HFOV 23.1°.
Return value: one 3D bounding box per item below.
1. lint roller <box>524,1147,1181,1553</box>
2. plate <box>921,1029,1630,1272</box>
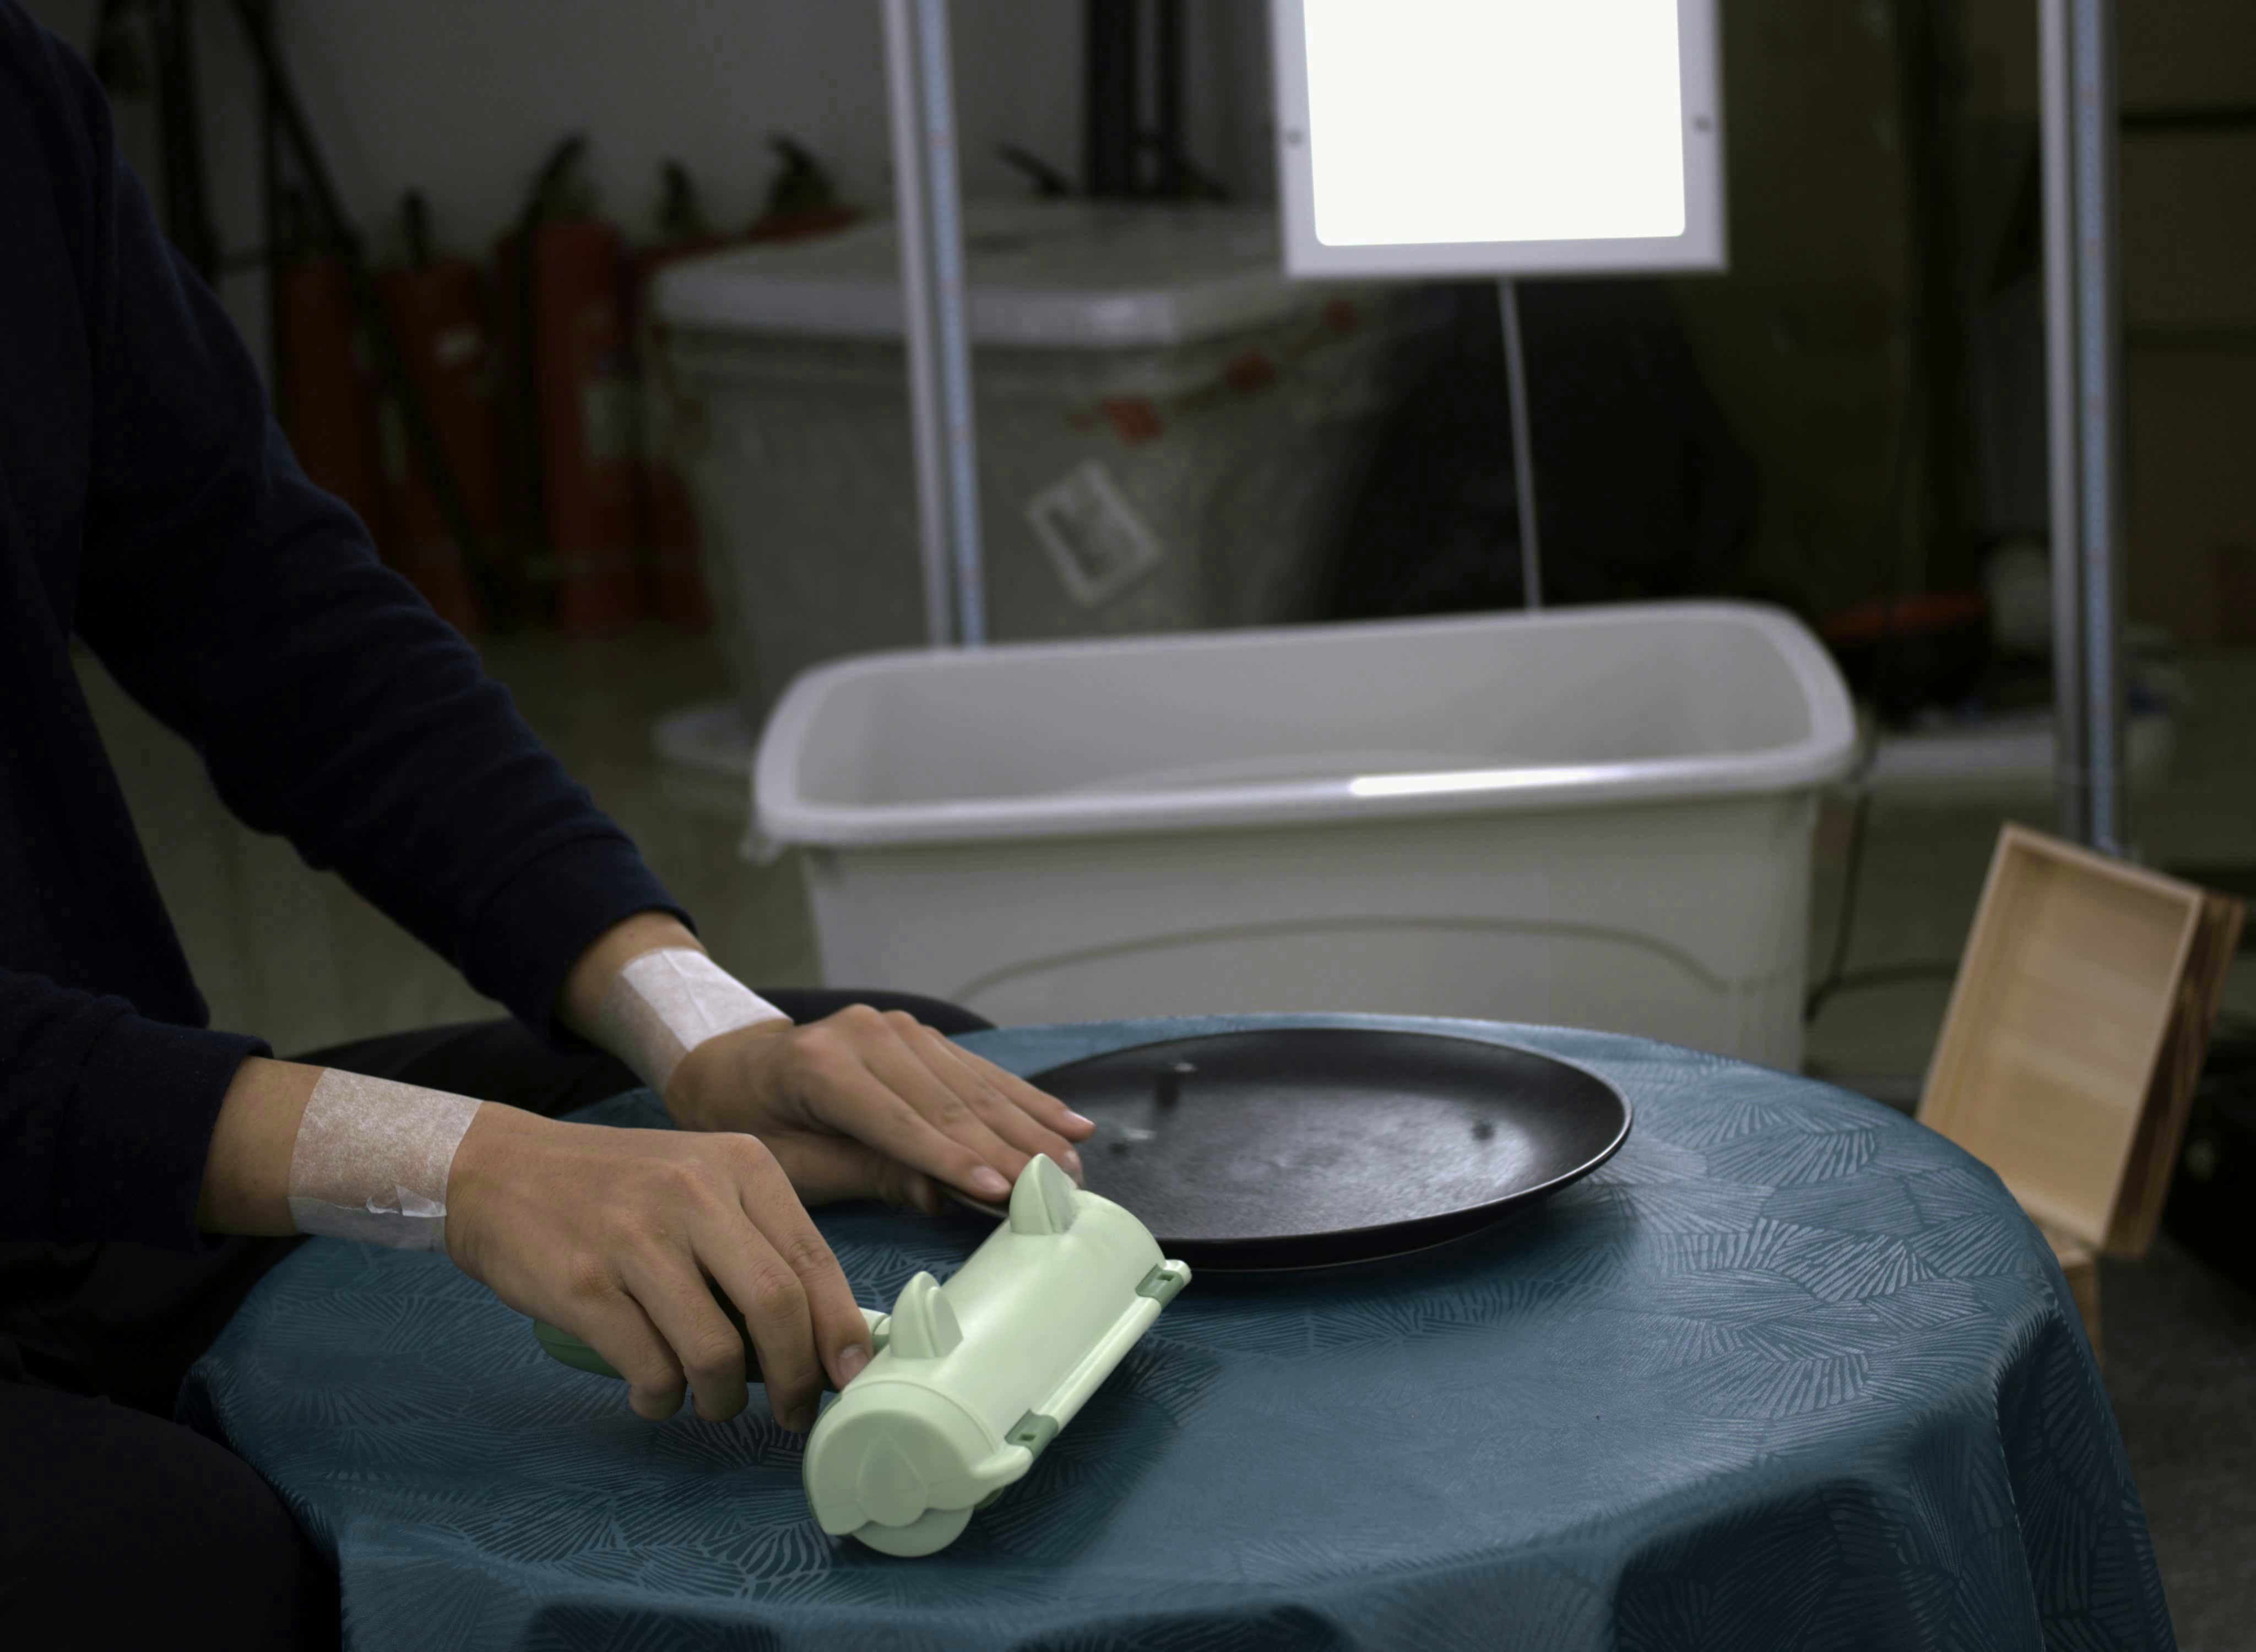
[{"bbox_3d":[-0.092,0.138,1.666,0.184,0.083,0.195,17,18,12],"label":"lint roller"},{"bbox_3d":[0.051,0.112,1.880,0.244,0.023,0.244,-4,14,0],"label":"plate"}]
